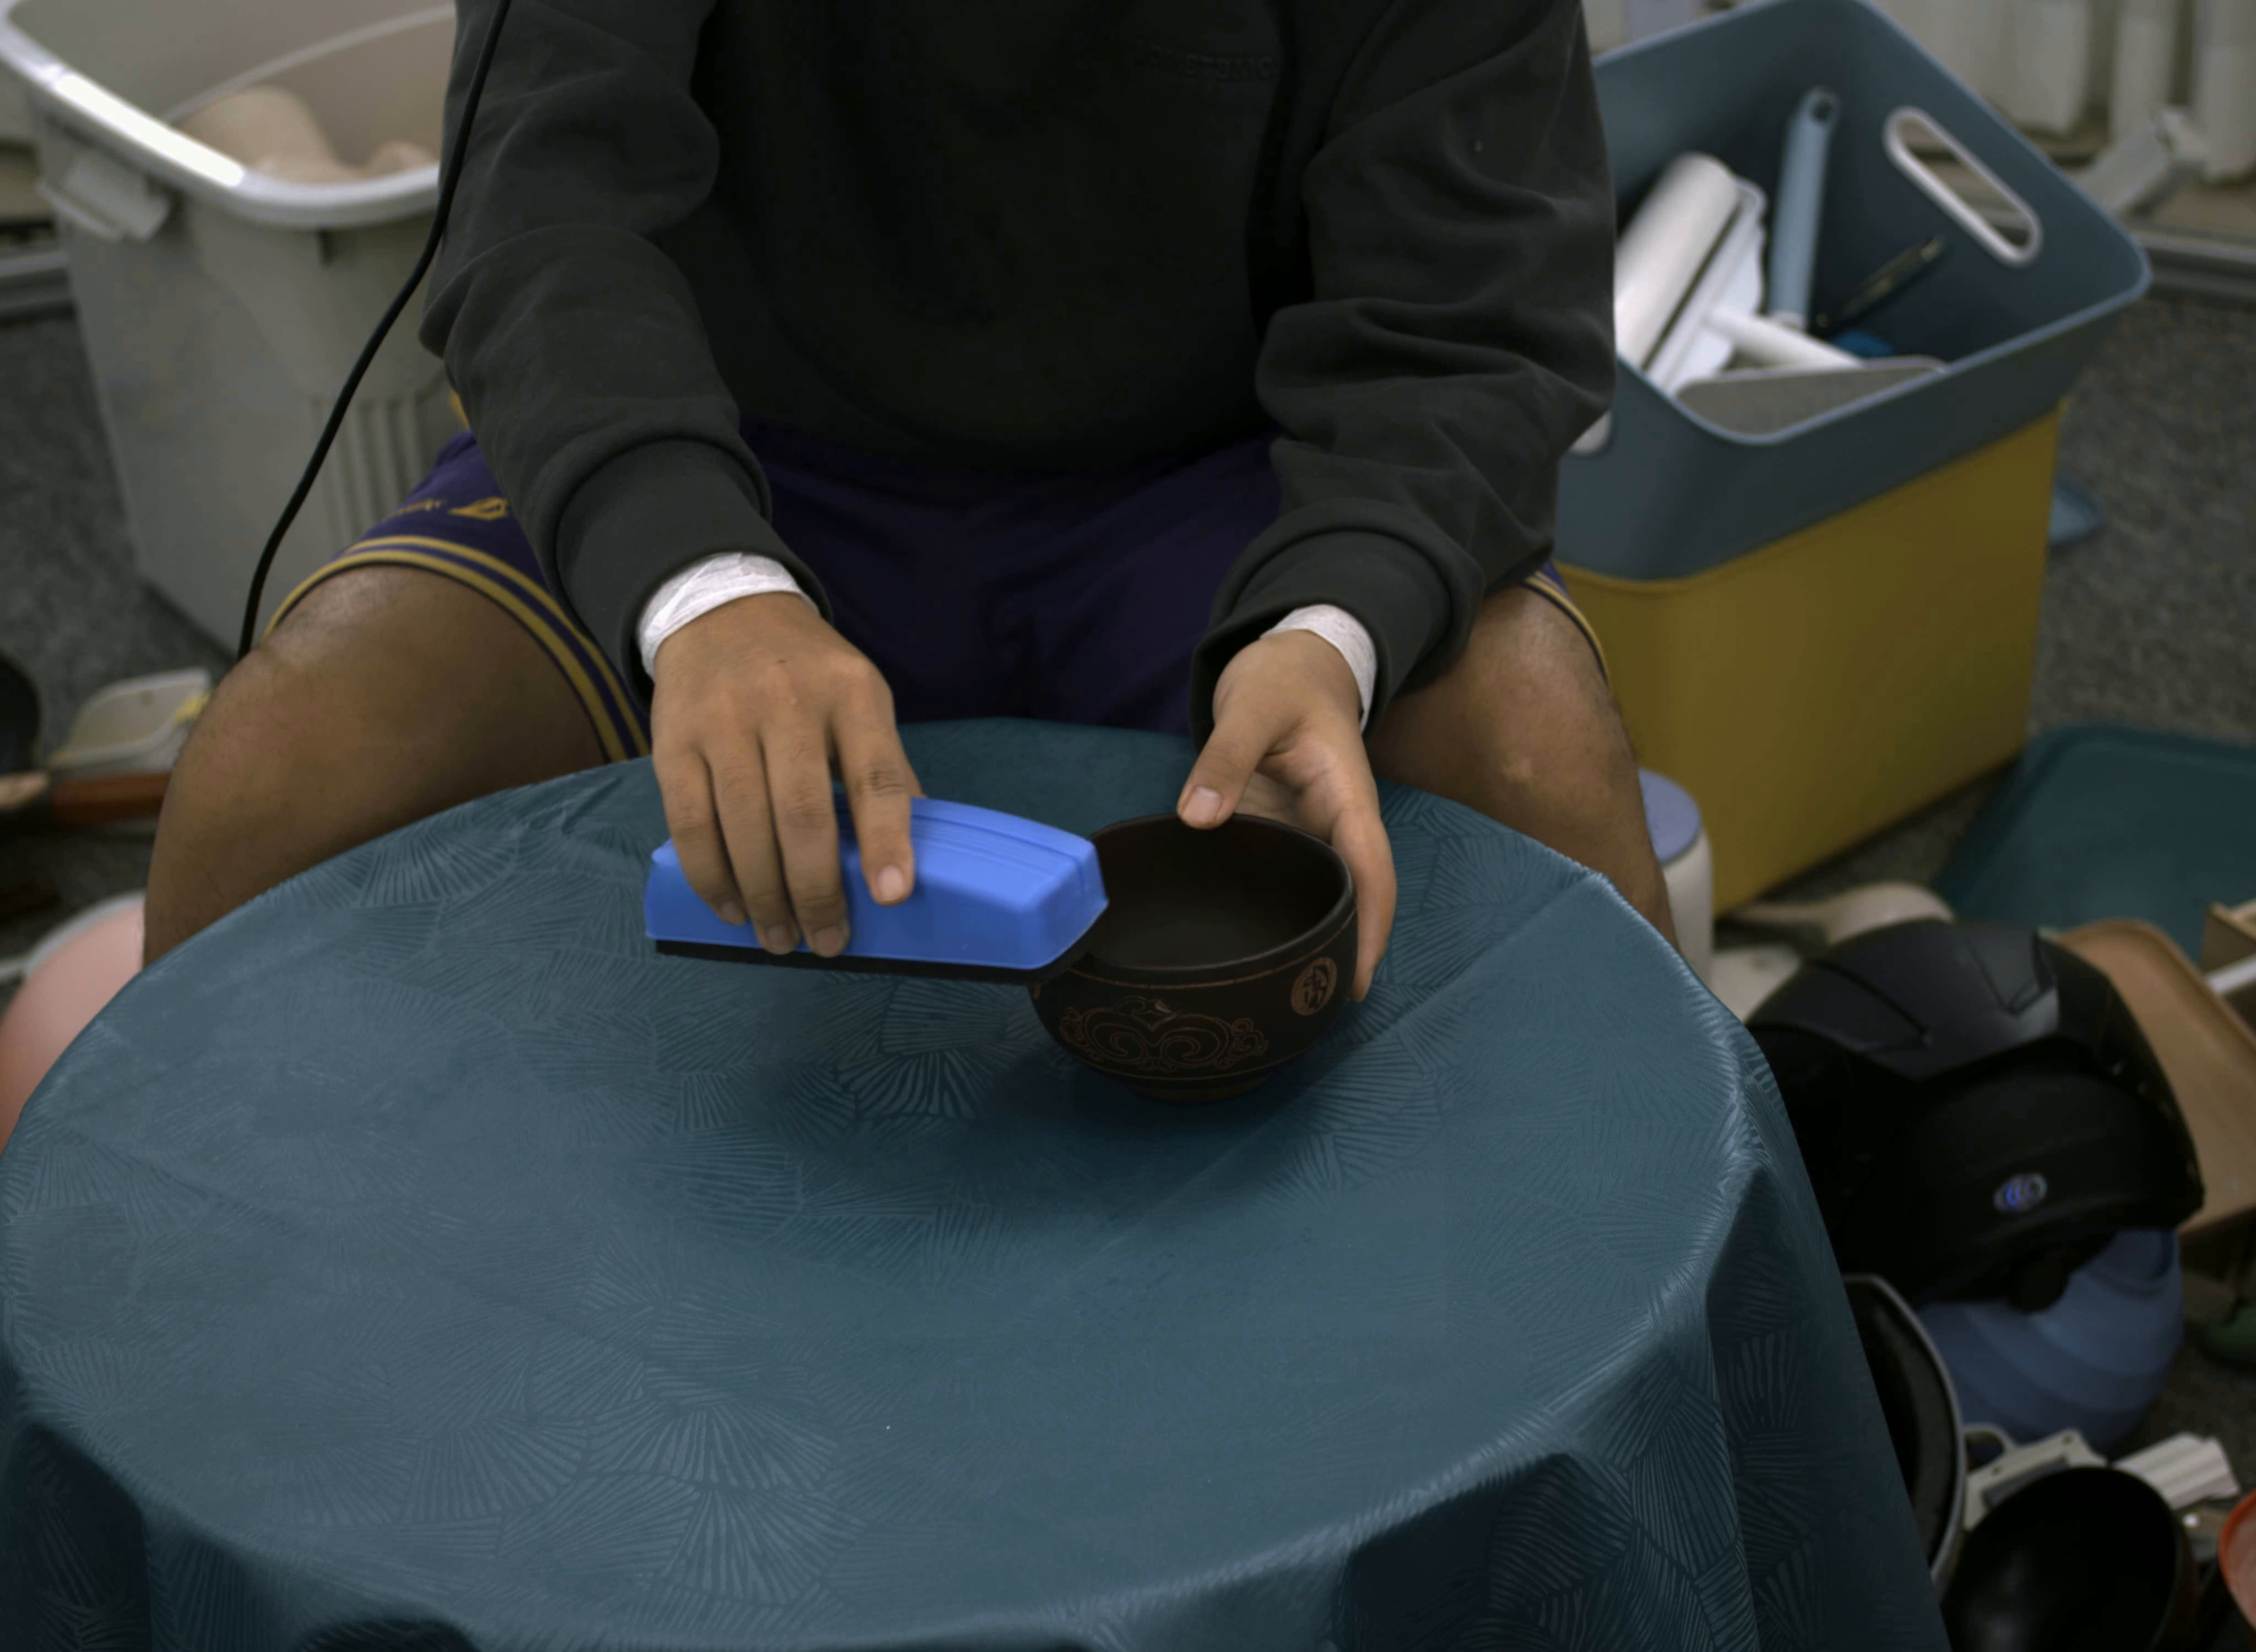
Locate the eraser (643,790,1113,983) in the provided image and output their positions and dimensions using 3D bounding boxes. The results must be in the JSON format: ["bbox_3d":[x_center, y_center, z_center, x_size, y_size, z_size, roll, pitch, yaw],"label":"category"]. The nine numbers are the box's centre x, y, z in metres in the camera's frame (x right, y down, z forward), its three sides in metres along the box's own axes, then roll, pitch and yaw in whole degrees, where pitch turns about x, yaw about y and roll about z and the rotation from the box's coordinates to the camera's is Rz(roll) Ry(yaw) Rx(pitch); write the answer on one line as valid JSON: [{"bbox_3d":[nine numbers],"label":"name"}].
[{"bbox_3d":[-0.086,0.018,1.888,0.161,0.047,0.055,3,29,26],"label":"eraser"}]

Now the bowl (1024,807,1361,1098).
[{"bbox_3d":[0.022,0.049,1.919,0.117,0.069,0.120,-3,25,2],"label":"bowl"}]
